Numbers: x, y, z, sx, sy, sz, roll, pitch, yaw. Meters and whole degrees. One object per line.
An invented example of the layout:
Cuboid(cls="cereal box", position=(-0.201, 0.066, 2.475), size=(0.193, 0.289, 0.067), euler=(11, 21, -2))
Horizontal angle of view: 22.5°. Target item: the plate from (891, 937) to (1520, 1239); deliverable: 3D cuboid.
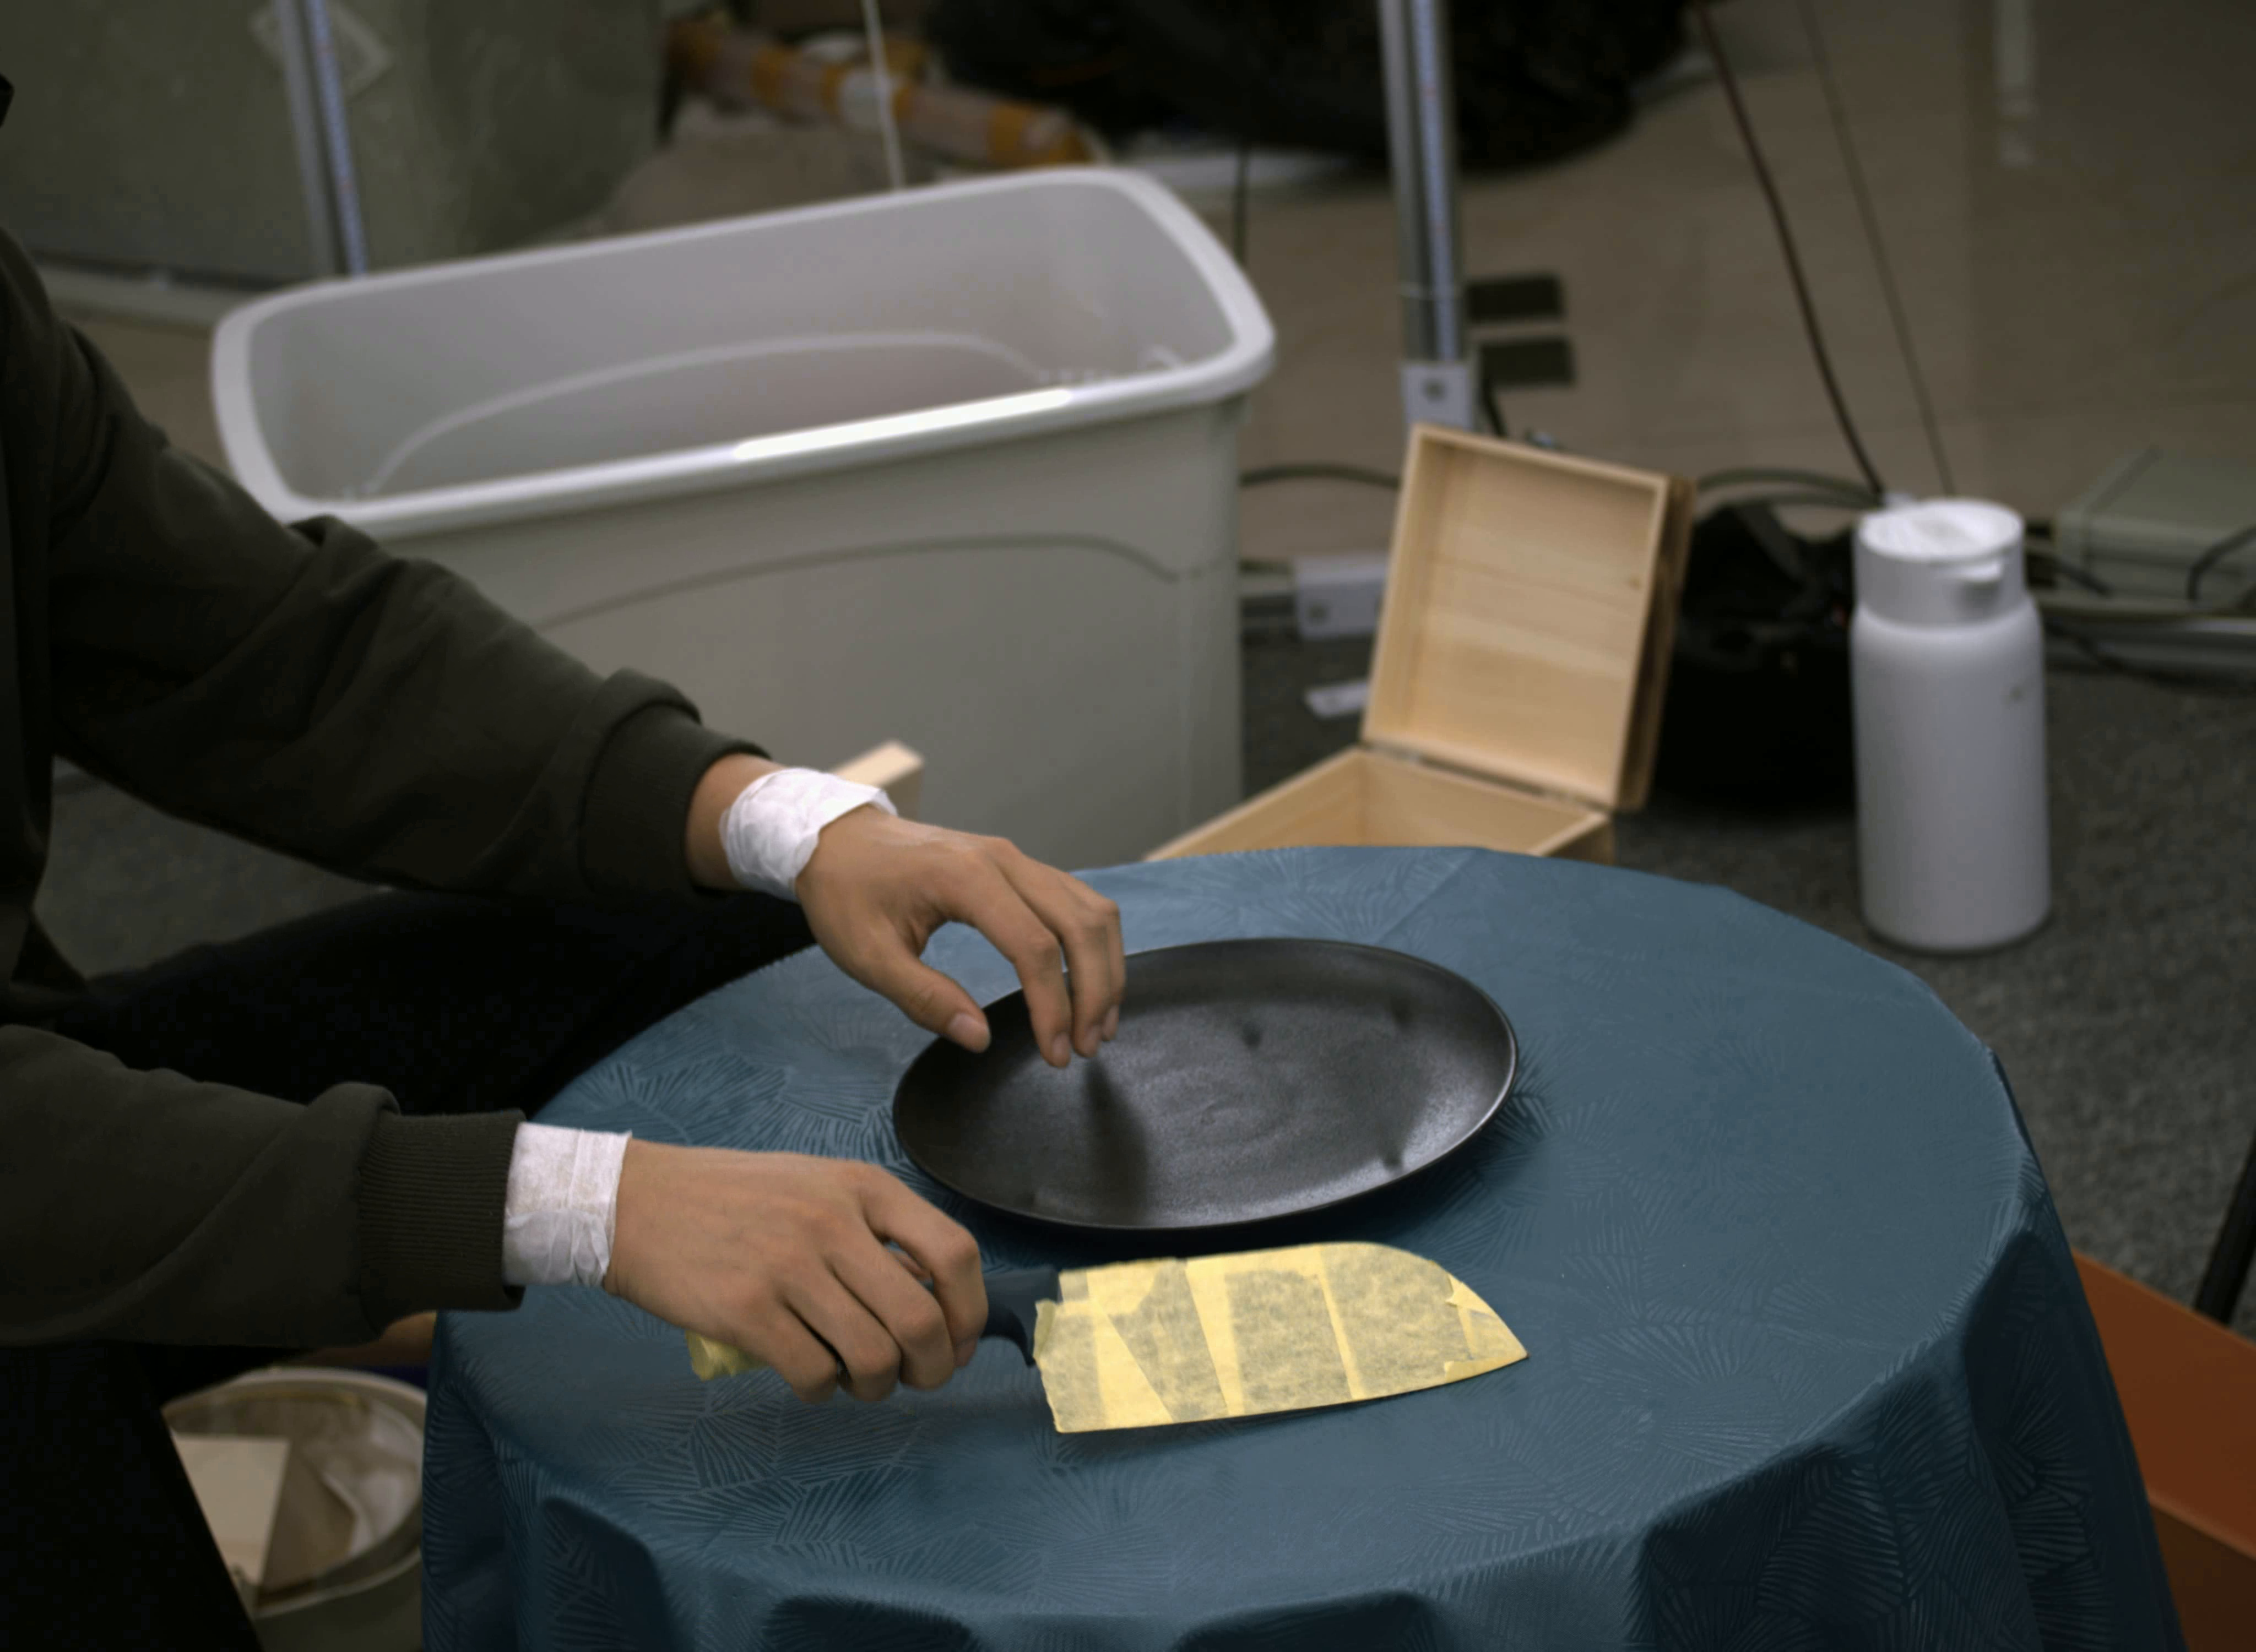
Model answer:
Cuboid(cls="plate", position=(0.031, 0.106, 2.187), size=(0.244, 0.024, 0.241), euler=(-5, 25, 3))

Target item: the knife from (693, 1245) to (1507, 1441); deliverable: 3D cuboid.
Cuboid(cls="knife", position=(-0.008, 0.186, 2.001), size=(0.289, 0.028, 0.079), euler=(-5, 42, -7))
